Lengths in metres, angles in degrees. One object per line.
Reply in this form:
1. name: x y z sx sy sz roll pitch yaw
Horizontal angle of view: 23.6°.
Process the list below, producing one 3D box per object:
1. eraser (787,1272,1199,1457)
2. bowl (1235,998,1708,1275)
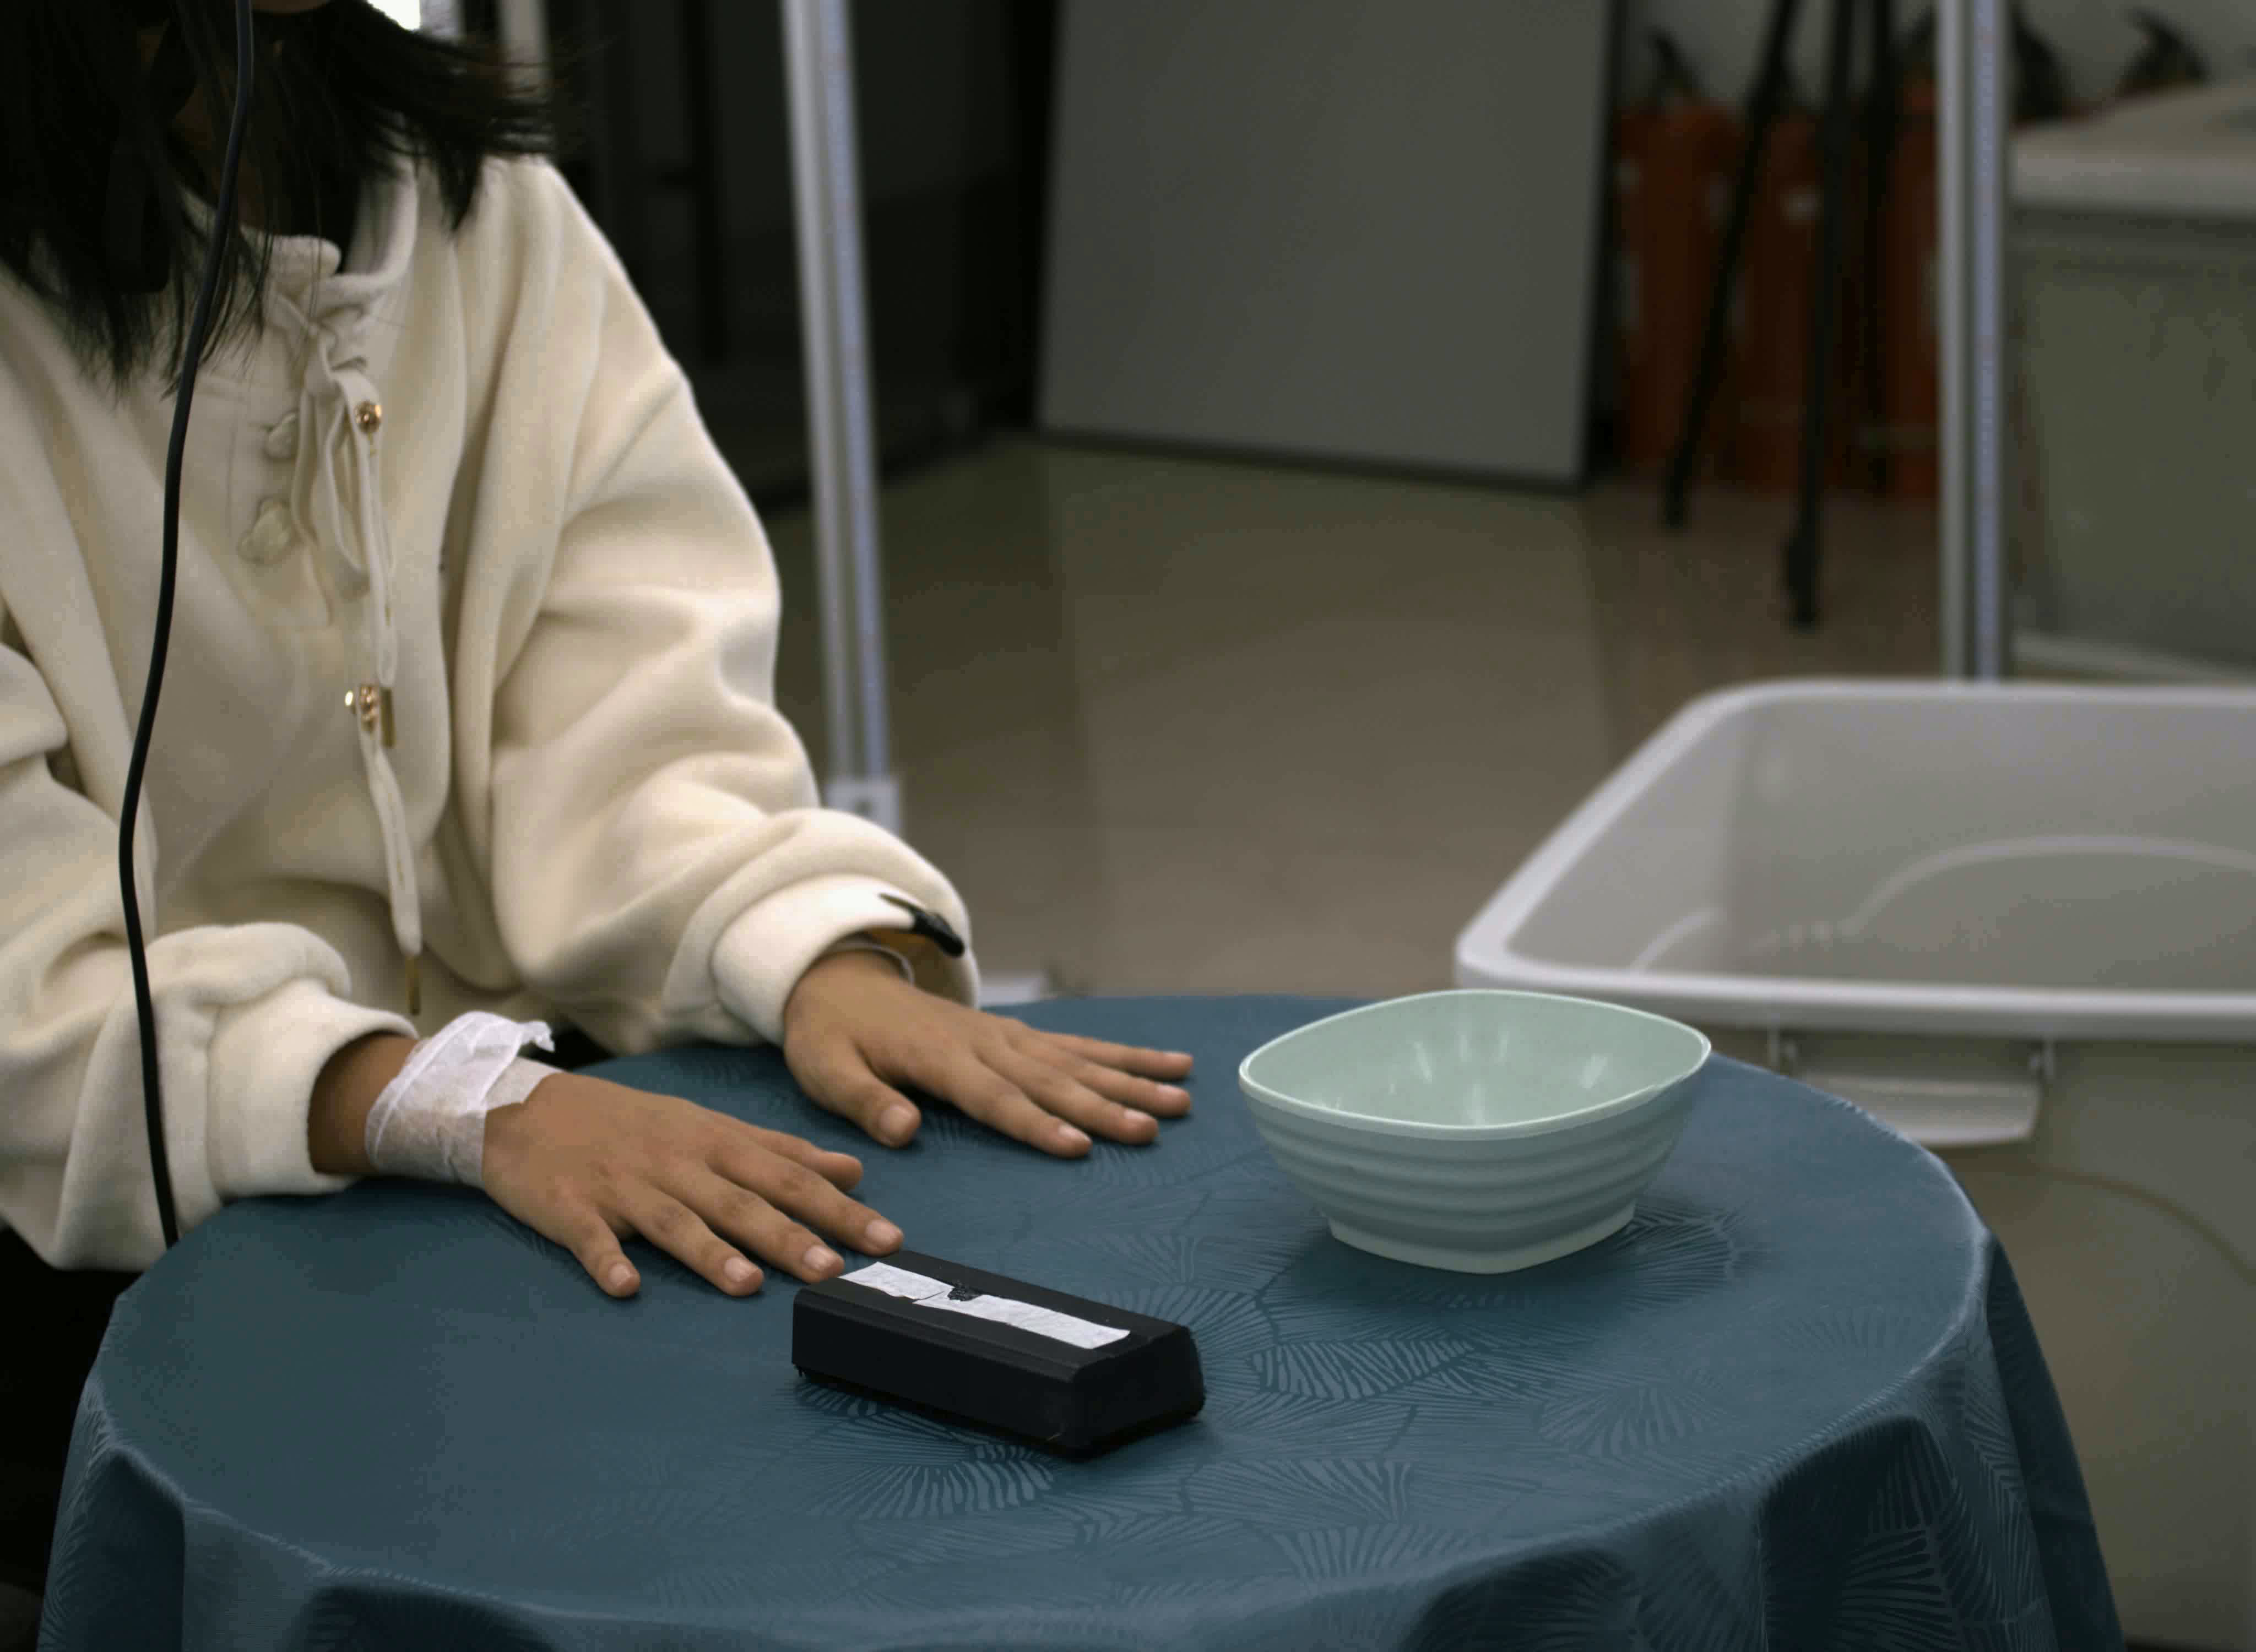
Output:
1. eraser: -0.039 0.157 1.581 0.126 0.031 0.052 6 15 45
2. bowl: 0.109 0.100 1.703 0.149 0.059 0.151 -2 12 -1
